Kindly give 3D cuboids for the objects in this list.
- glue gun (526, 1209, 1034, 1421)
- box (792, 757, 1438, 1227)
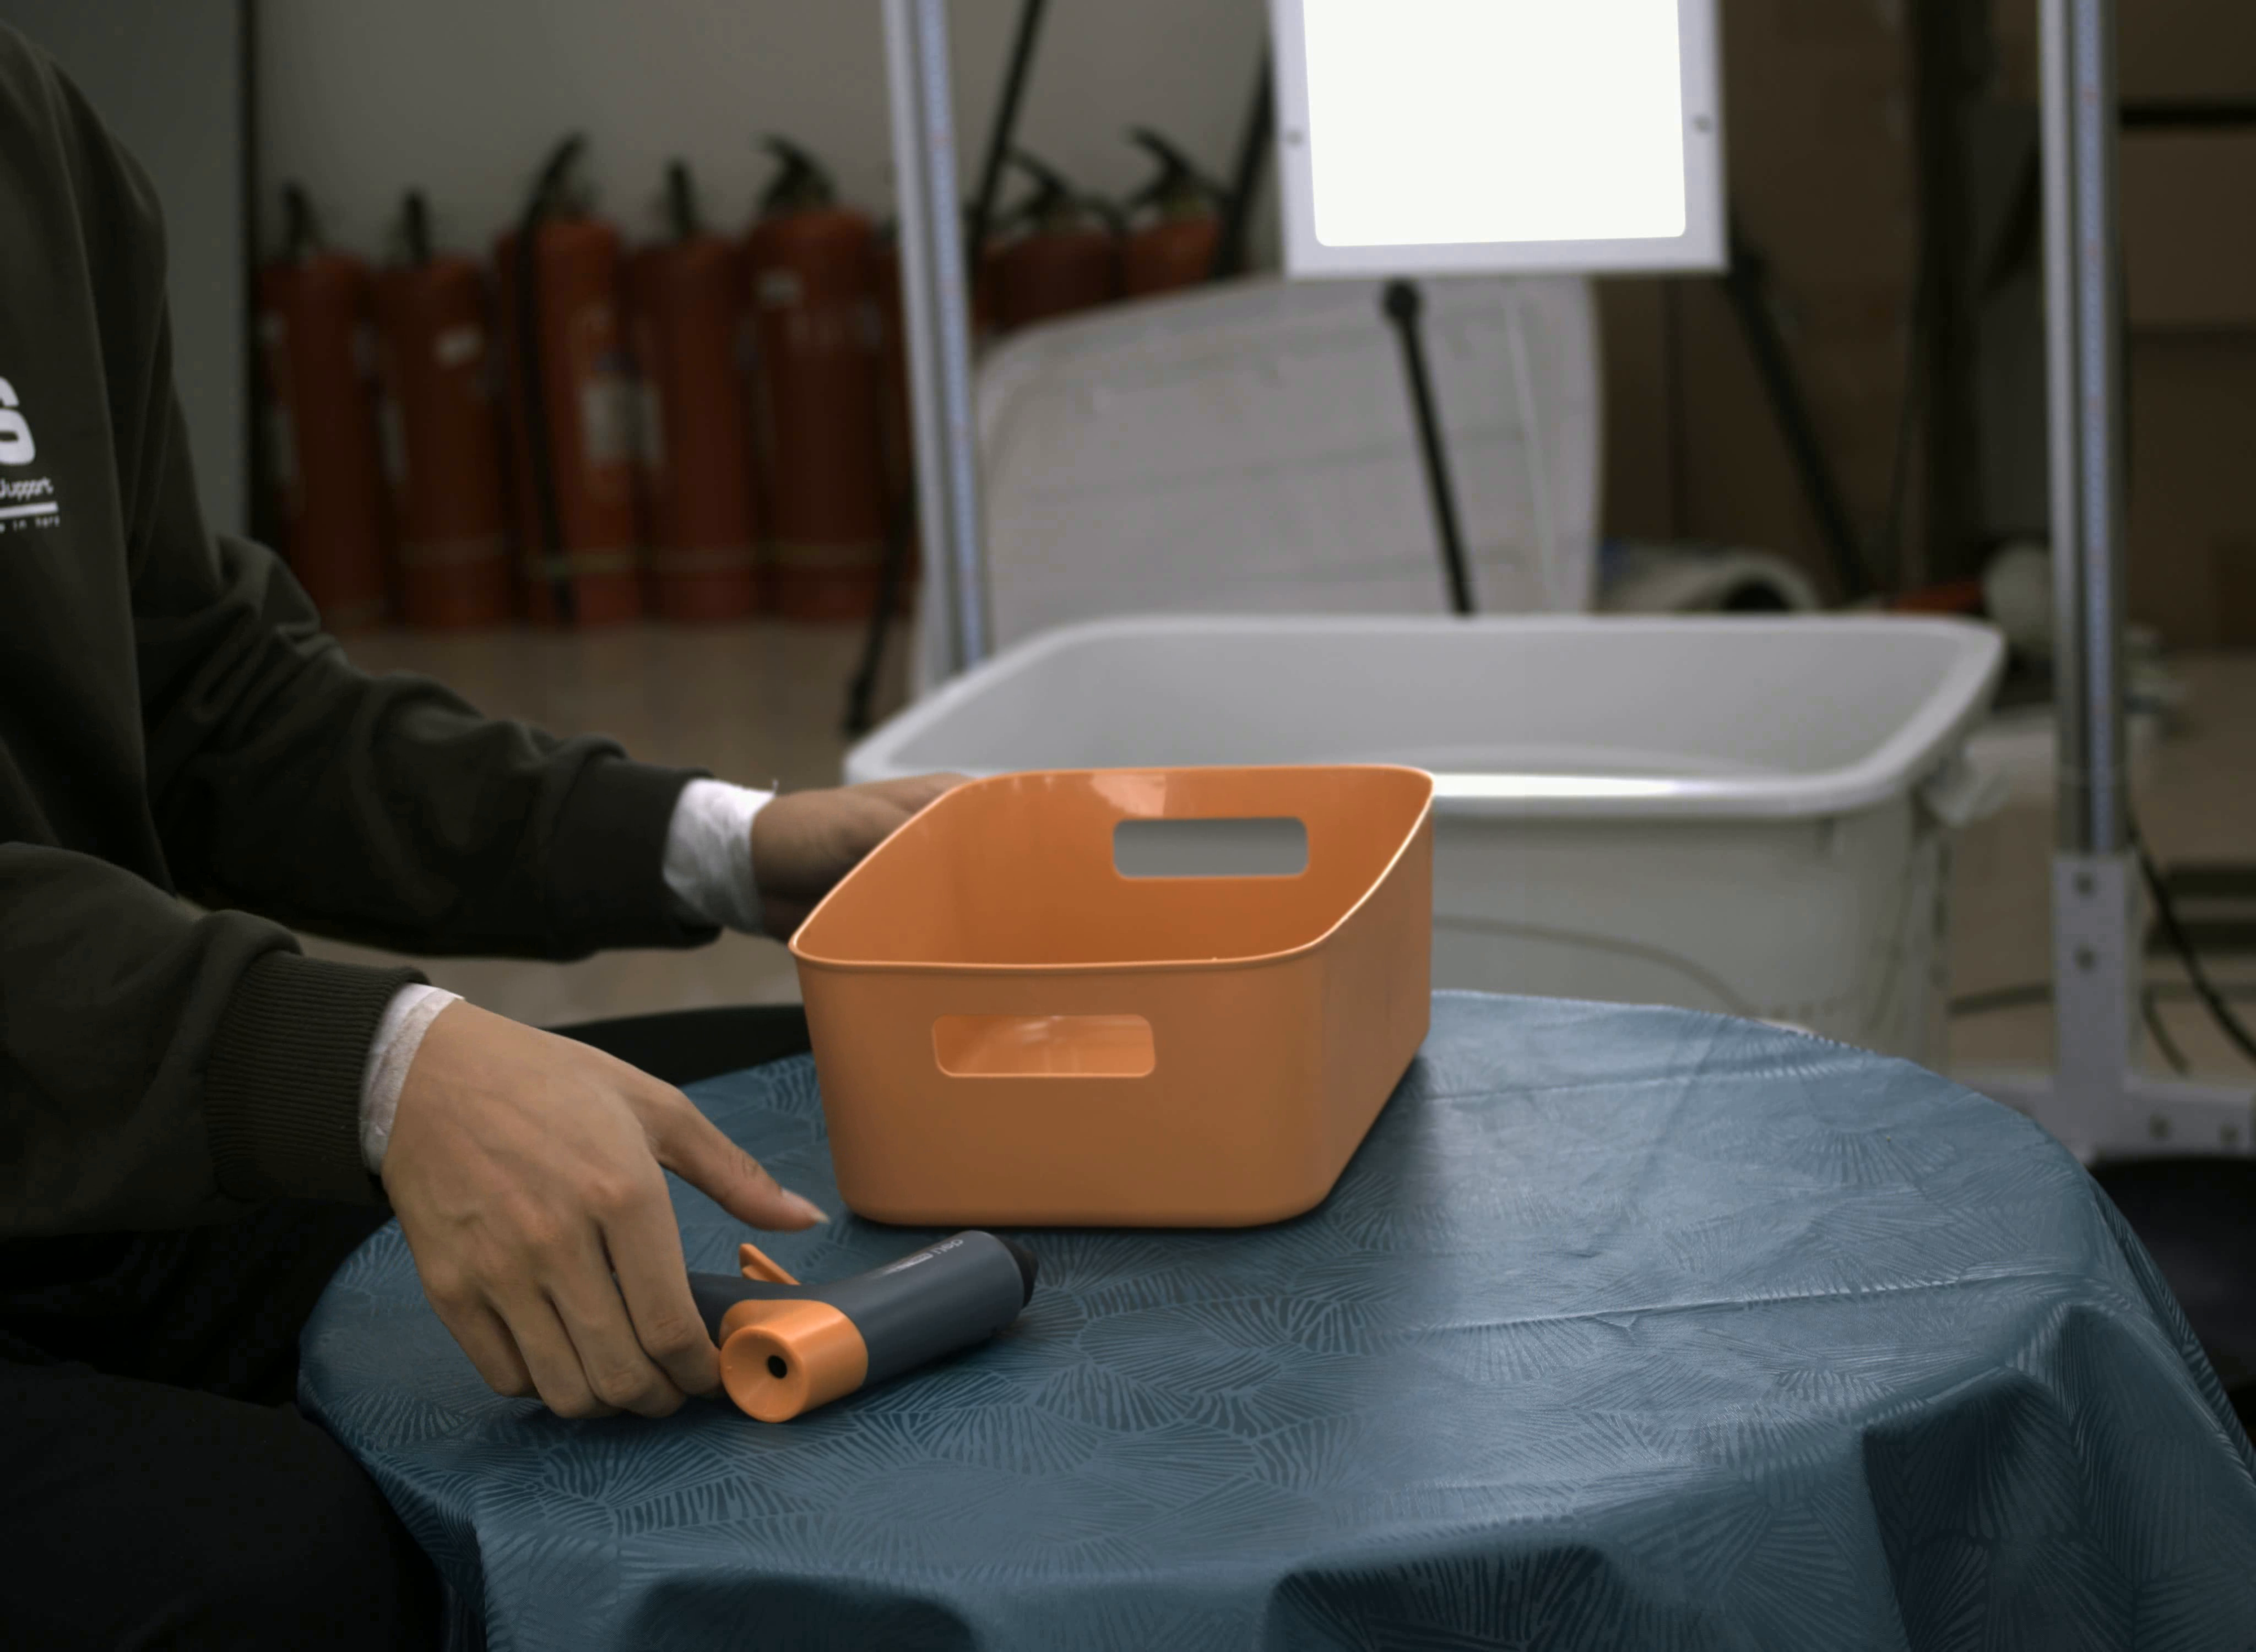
[{"bbox_3d":[-0.111,0.154,1.764,0.142,0.041,0.115,5,15,28],"label":"glue gun"},{"bbox_3d":[0.003,0.058,1.959,0.201,0.103,0.269,-1,15,15],"label":"box"}]
